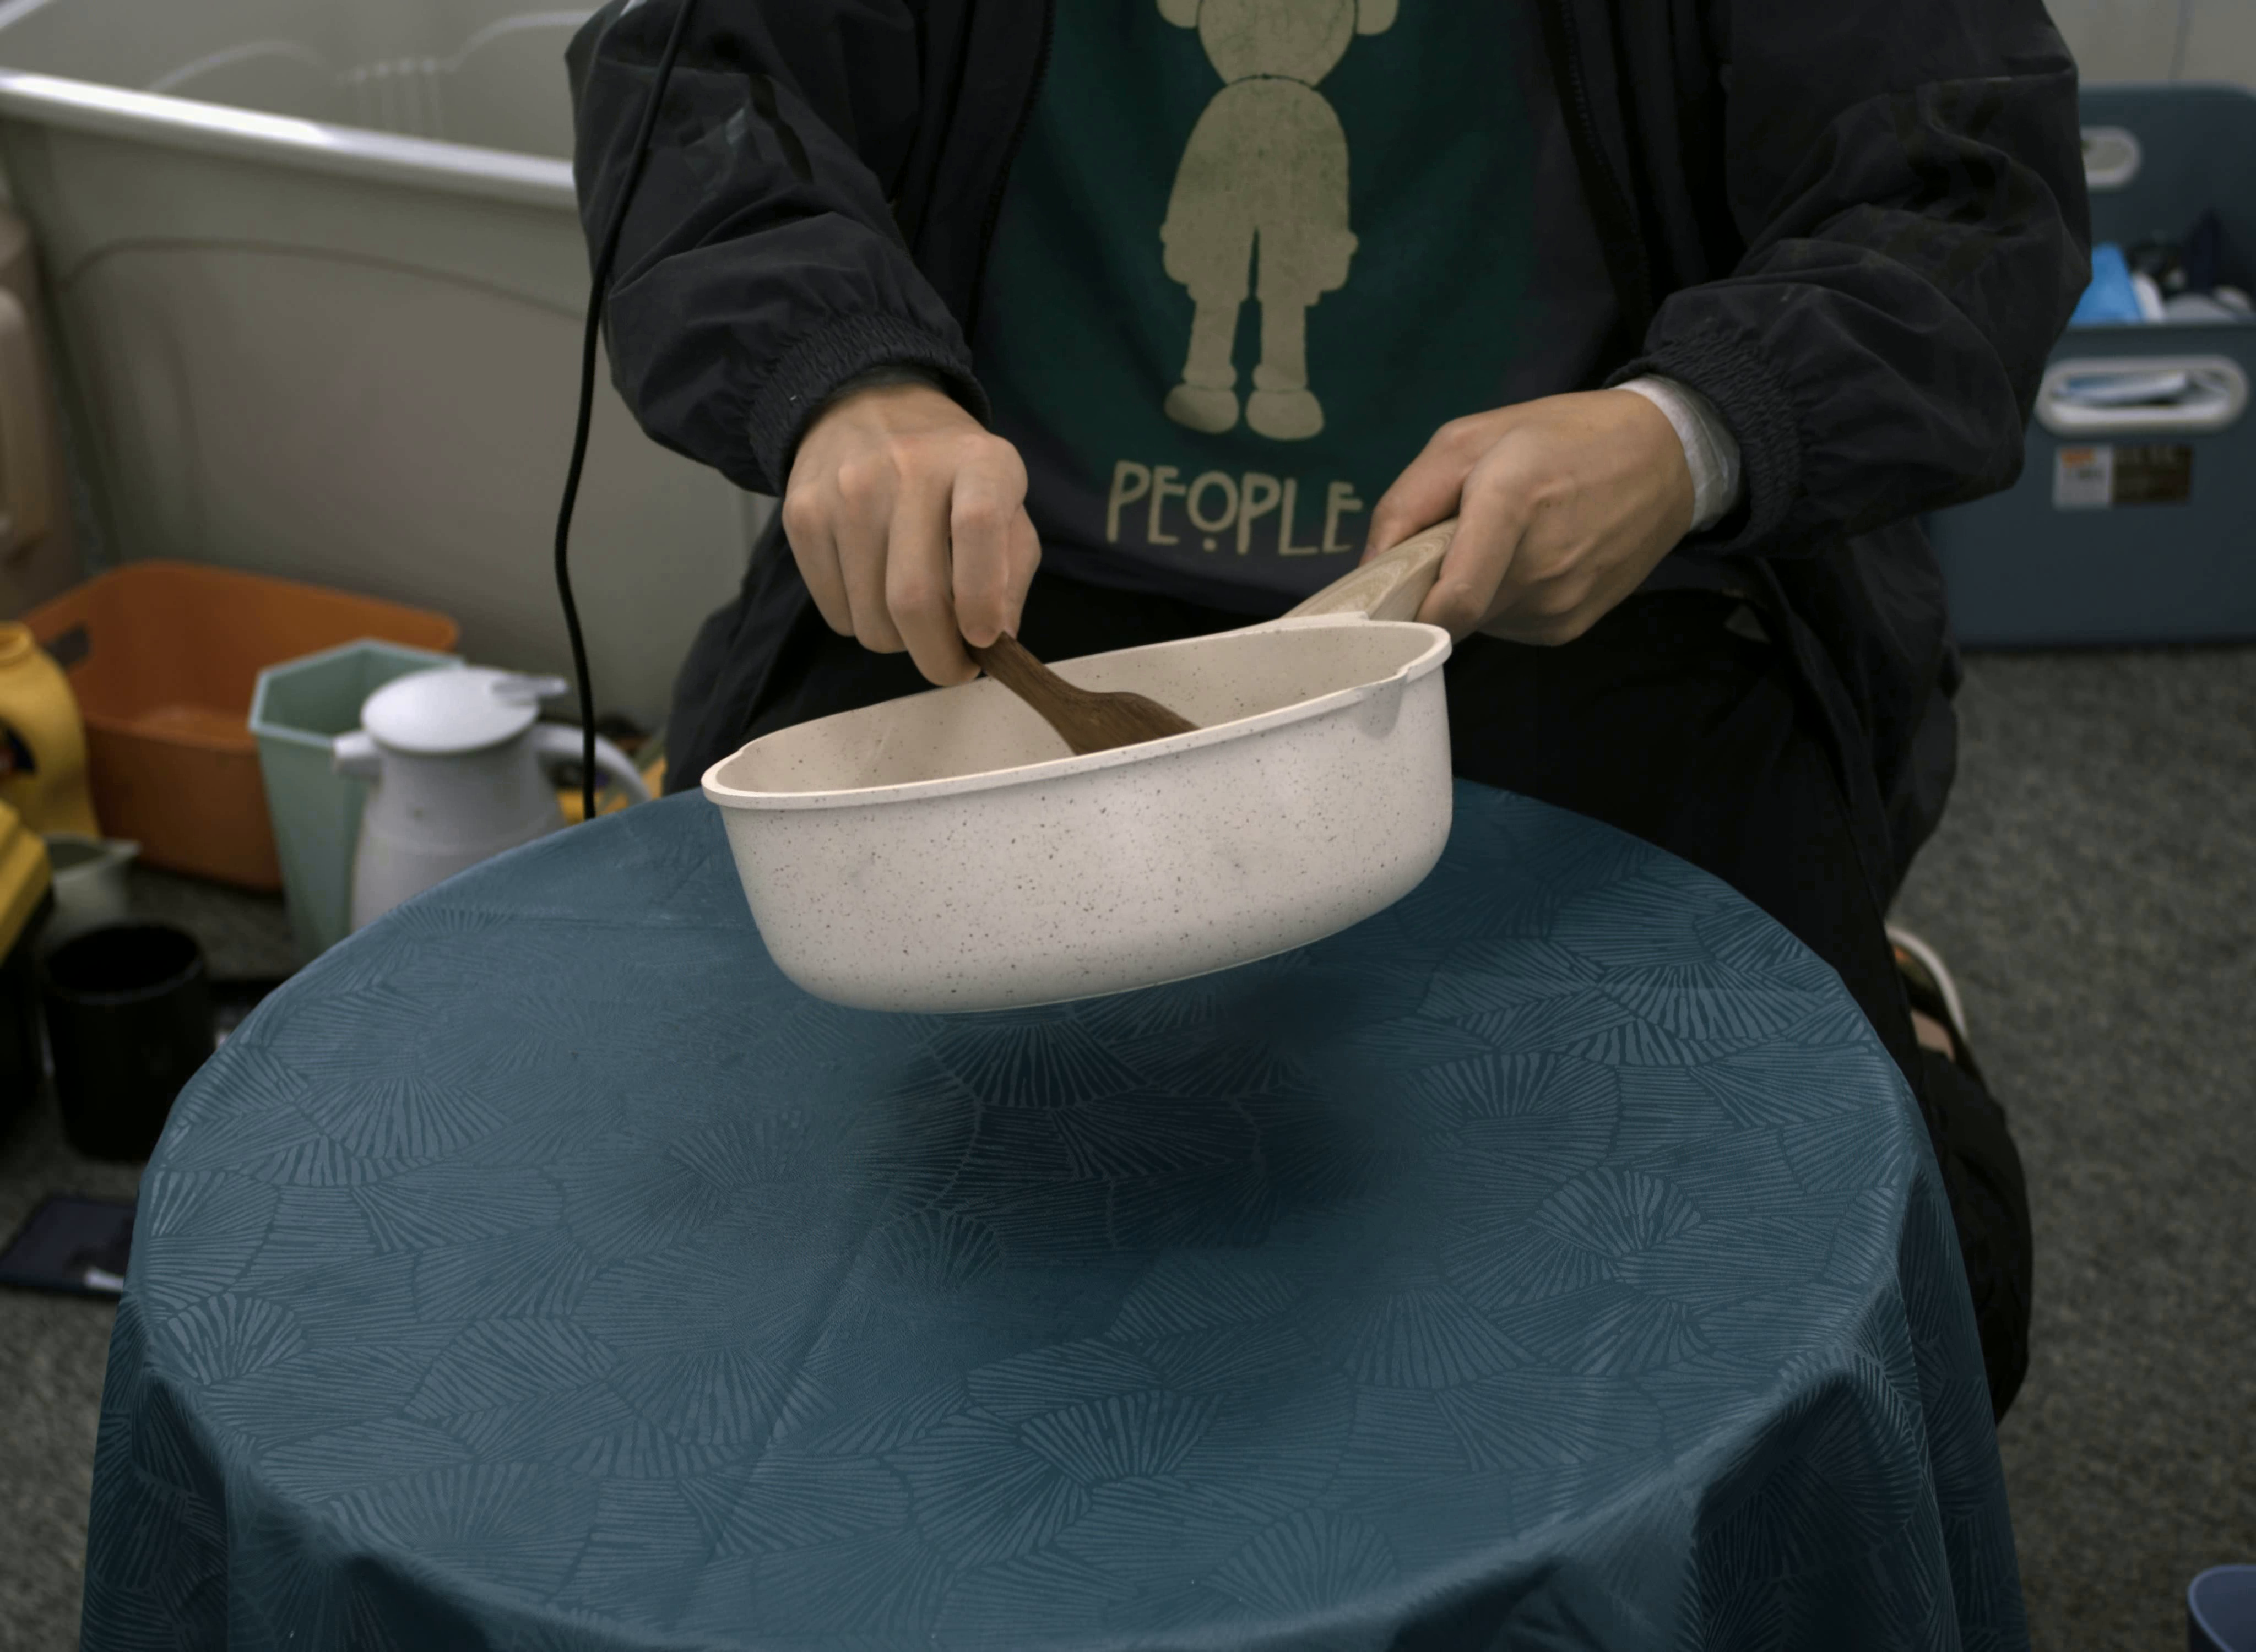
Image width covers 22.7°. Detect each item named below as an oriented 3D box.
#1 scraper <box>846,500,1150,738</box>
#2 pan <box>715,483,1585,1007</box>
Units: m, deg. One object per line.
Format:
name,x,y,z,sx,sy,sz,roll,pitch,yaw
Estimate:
scraper,-0.038,-0.050,1.889,0.011,0.075,0.212,-25,44,-24
pan,0.046,-0.030,1.921,0.260,0.102,0.439,-7,9,37
